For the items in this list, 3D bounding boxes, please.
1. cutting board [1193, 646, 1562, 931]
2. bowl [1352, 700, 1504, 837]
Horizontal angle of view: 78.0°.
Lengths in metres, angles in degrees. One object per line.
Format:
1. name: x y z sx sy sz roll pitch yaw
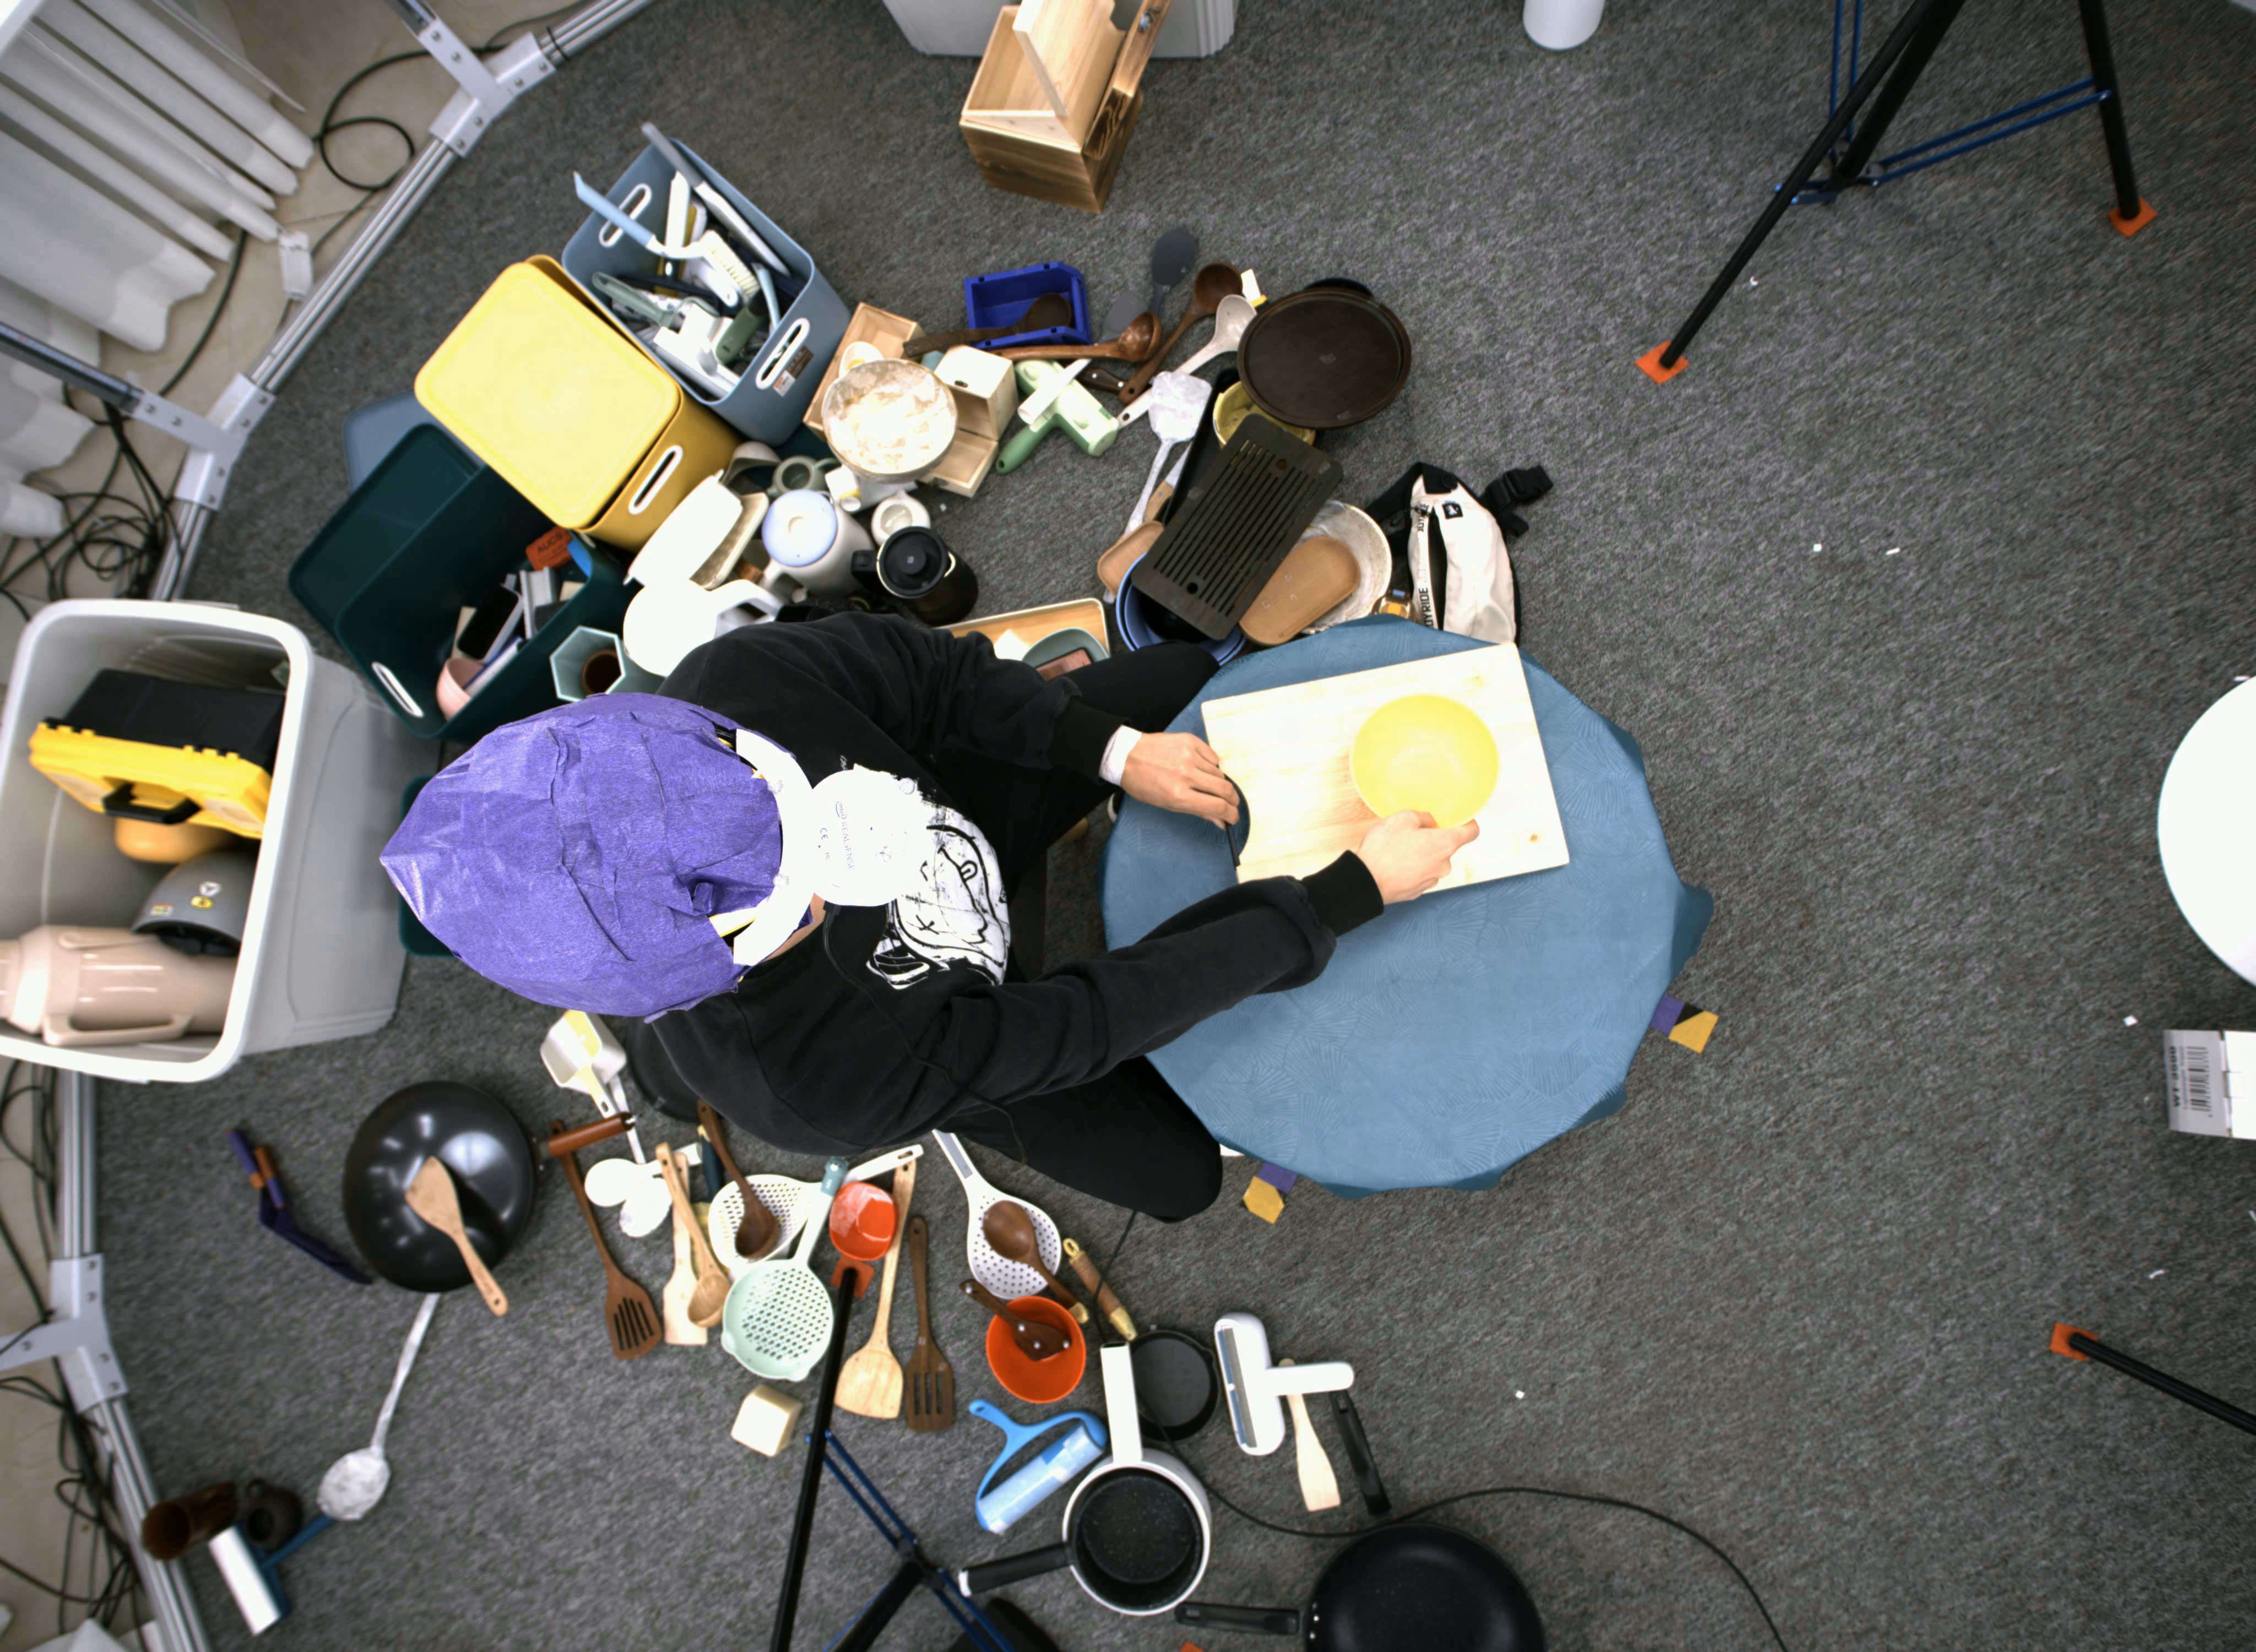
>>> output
1. cutting board: 0.262 -0.042 1.434 0.349 0.024 0.249 -12 84 -1
2. bowl: 0.294 -0.049 1.353 0.146 0.061 0.142 -4 69 10
